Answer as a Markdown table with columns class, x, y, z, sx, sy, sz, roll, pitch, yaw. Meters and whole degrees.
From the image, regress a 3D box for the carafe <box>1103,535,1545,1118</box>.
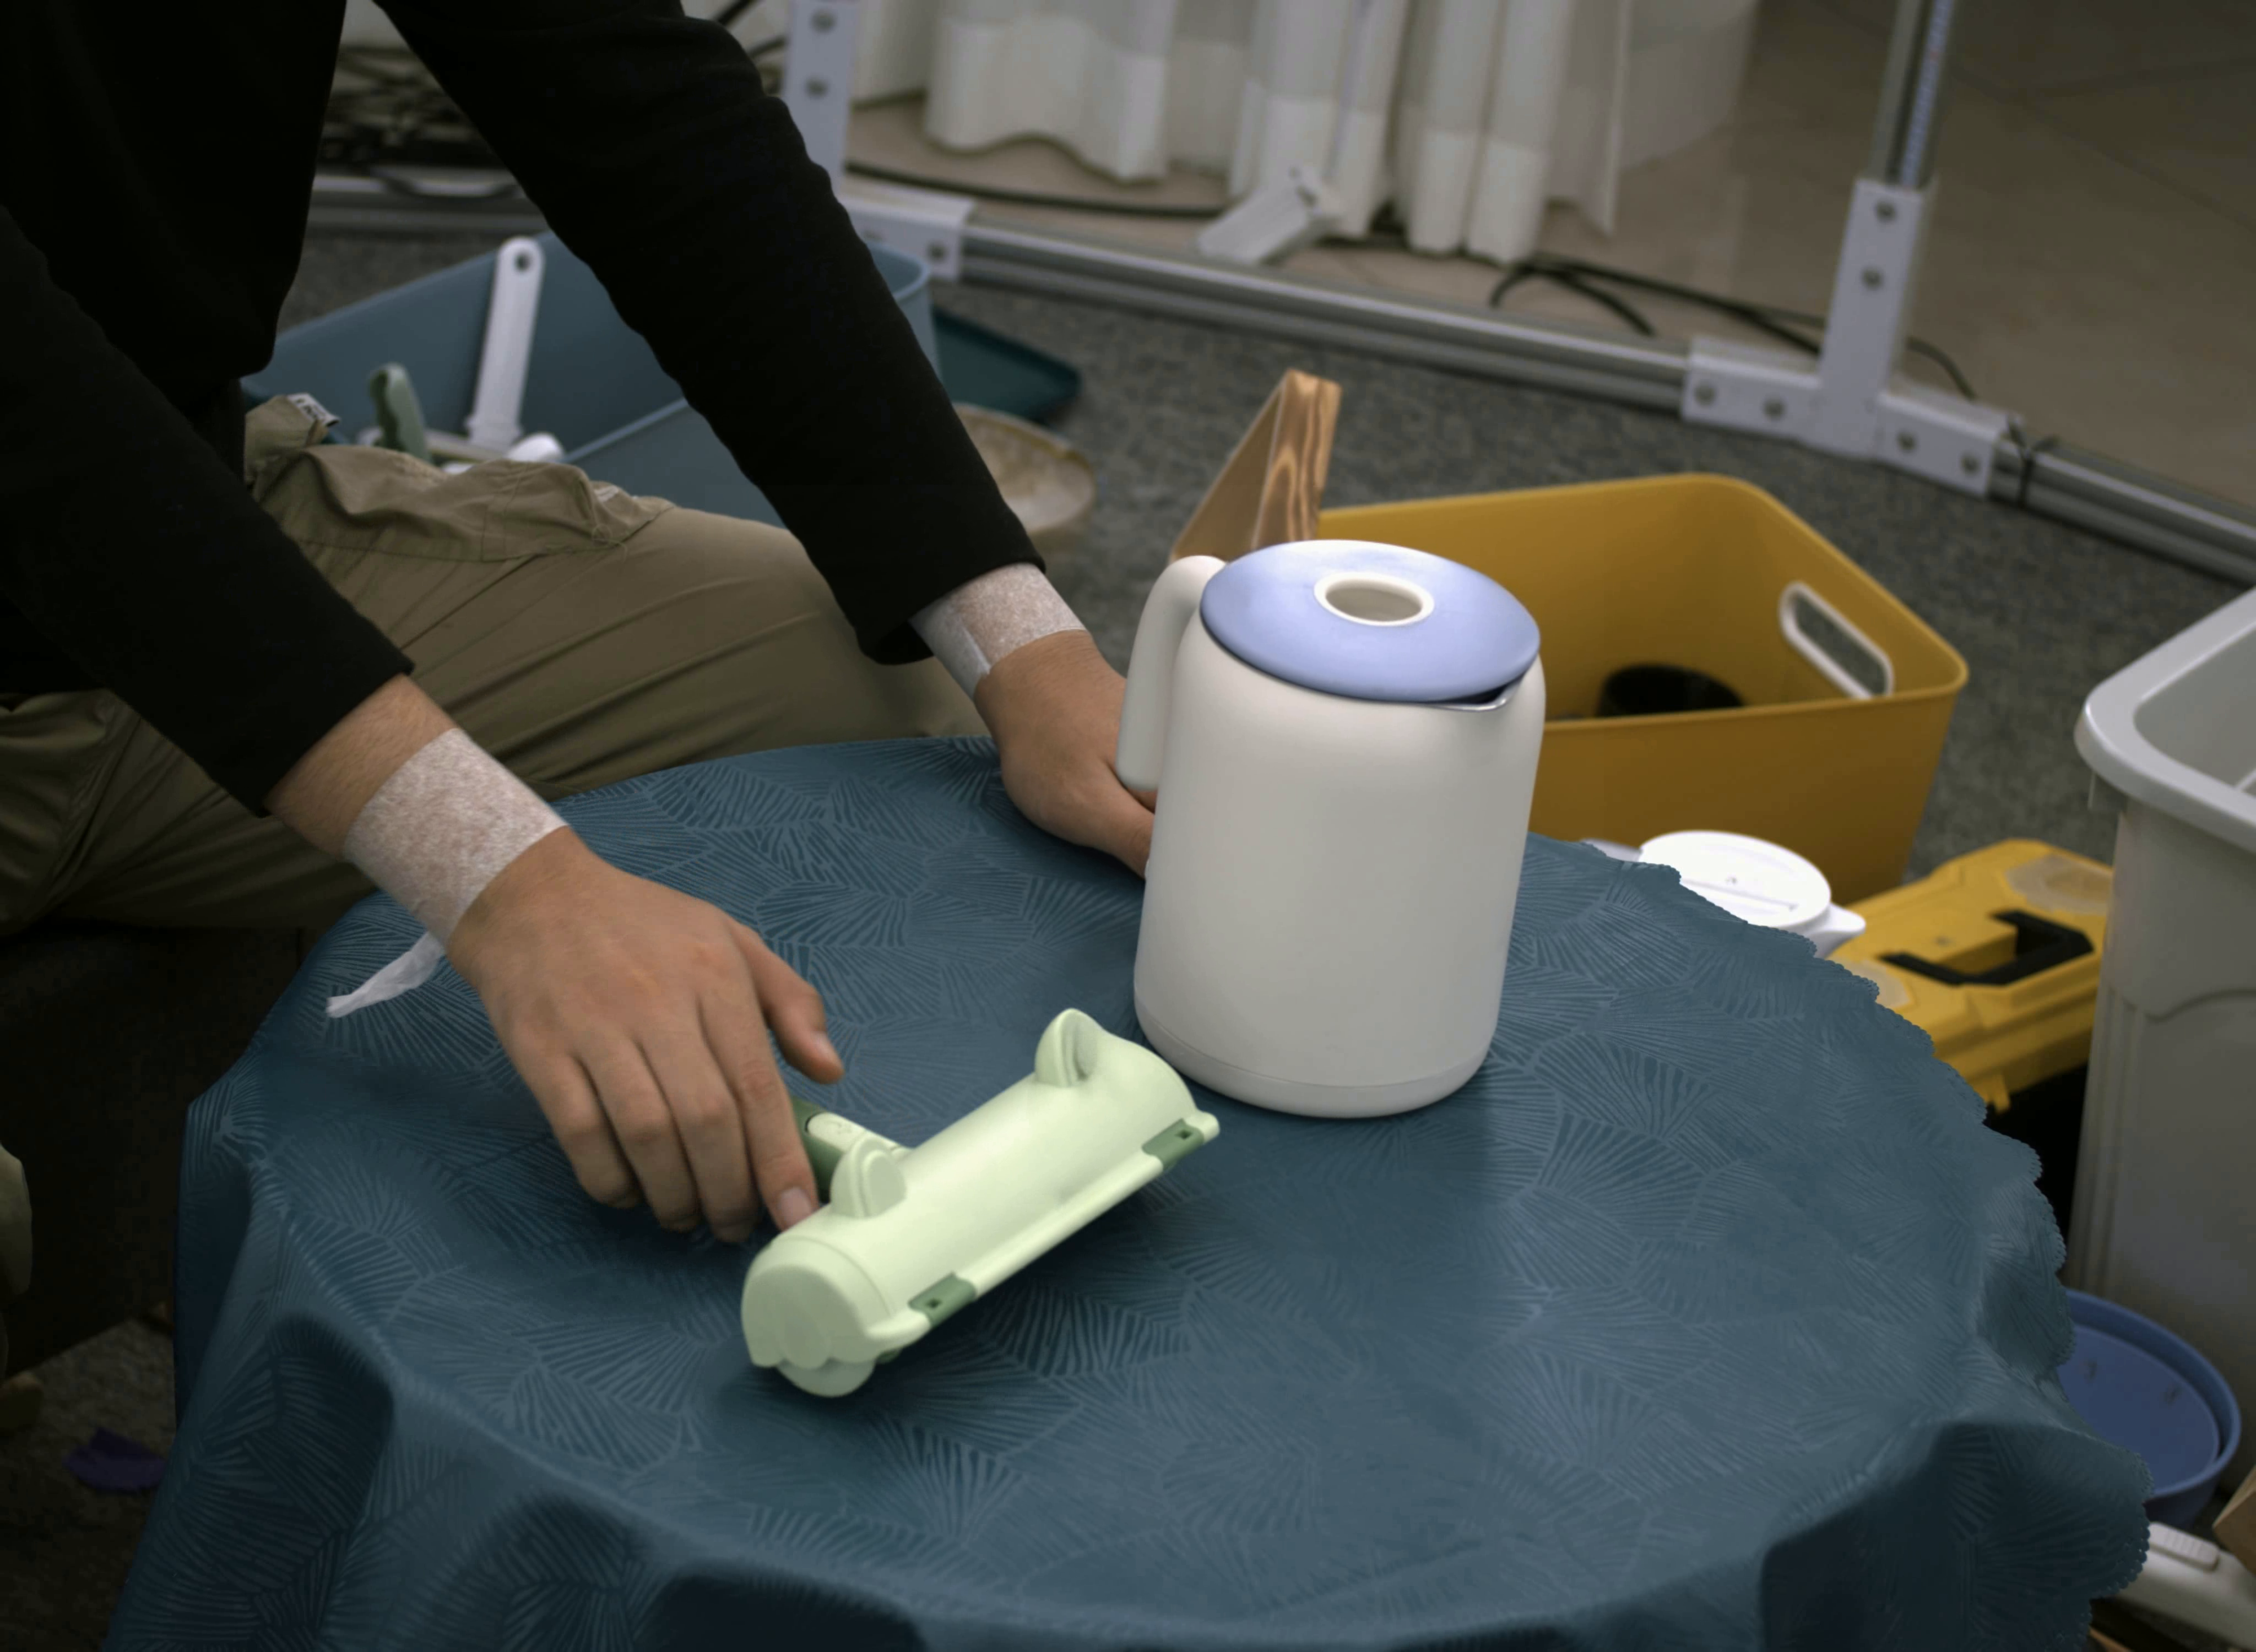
| class | x | y | z | sx | sy | sz | roll | pitch | yaw |
| --- | --- | --- | --- | --- | --- | --- | --- | --- | --- |
| carafe | 0.059 | -0.010 | 1.888 | 0.131 | 0.182 | 0.192 | -14 | 31 | -37 |

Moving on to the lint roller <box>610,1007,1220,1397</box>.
| class | x | y | z | sx | sy | sz | roll | pitch | yaw |
| --- | --- | --- | --- | --- | --- | --- | --- | --- | --- |
| lint roller | -0.093 | 0.098 | 1.746 | 0.184 | 0.082 | 0.198 | 24 | 30 | 26 |
